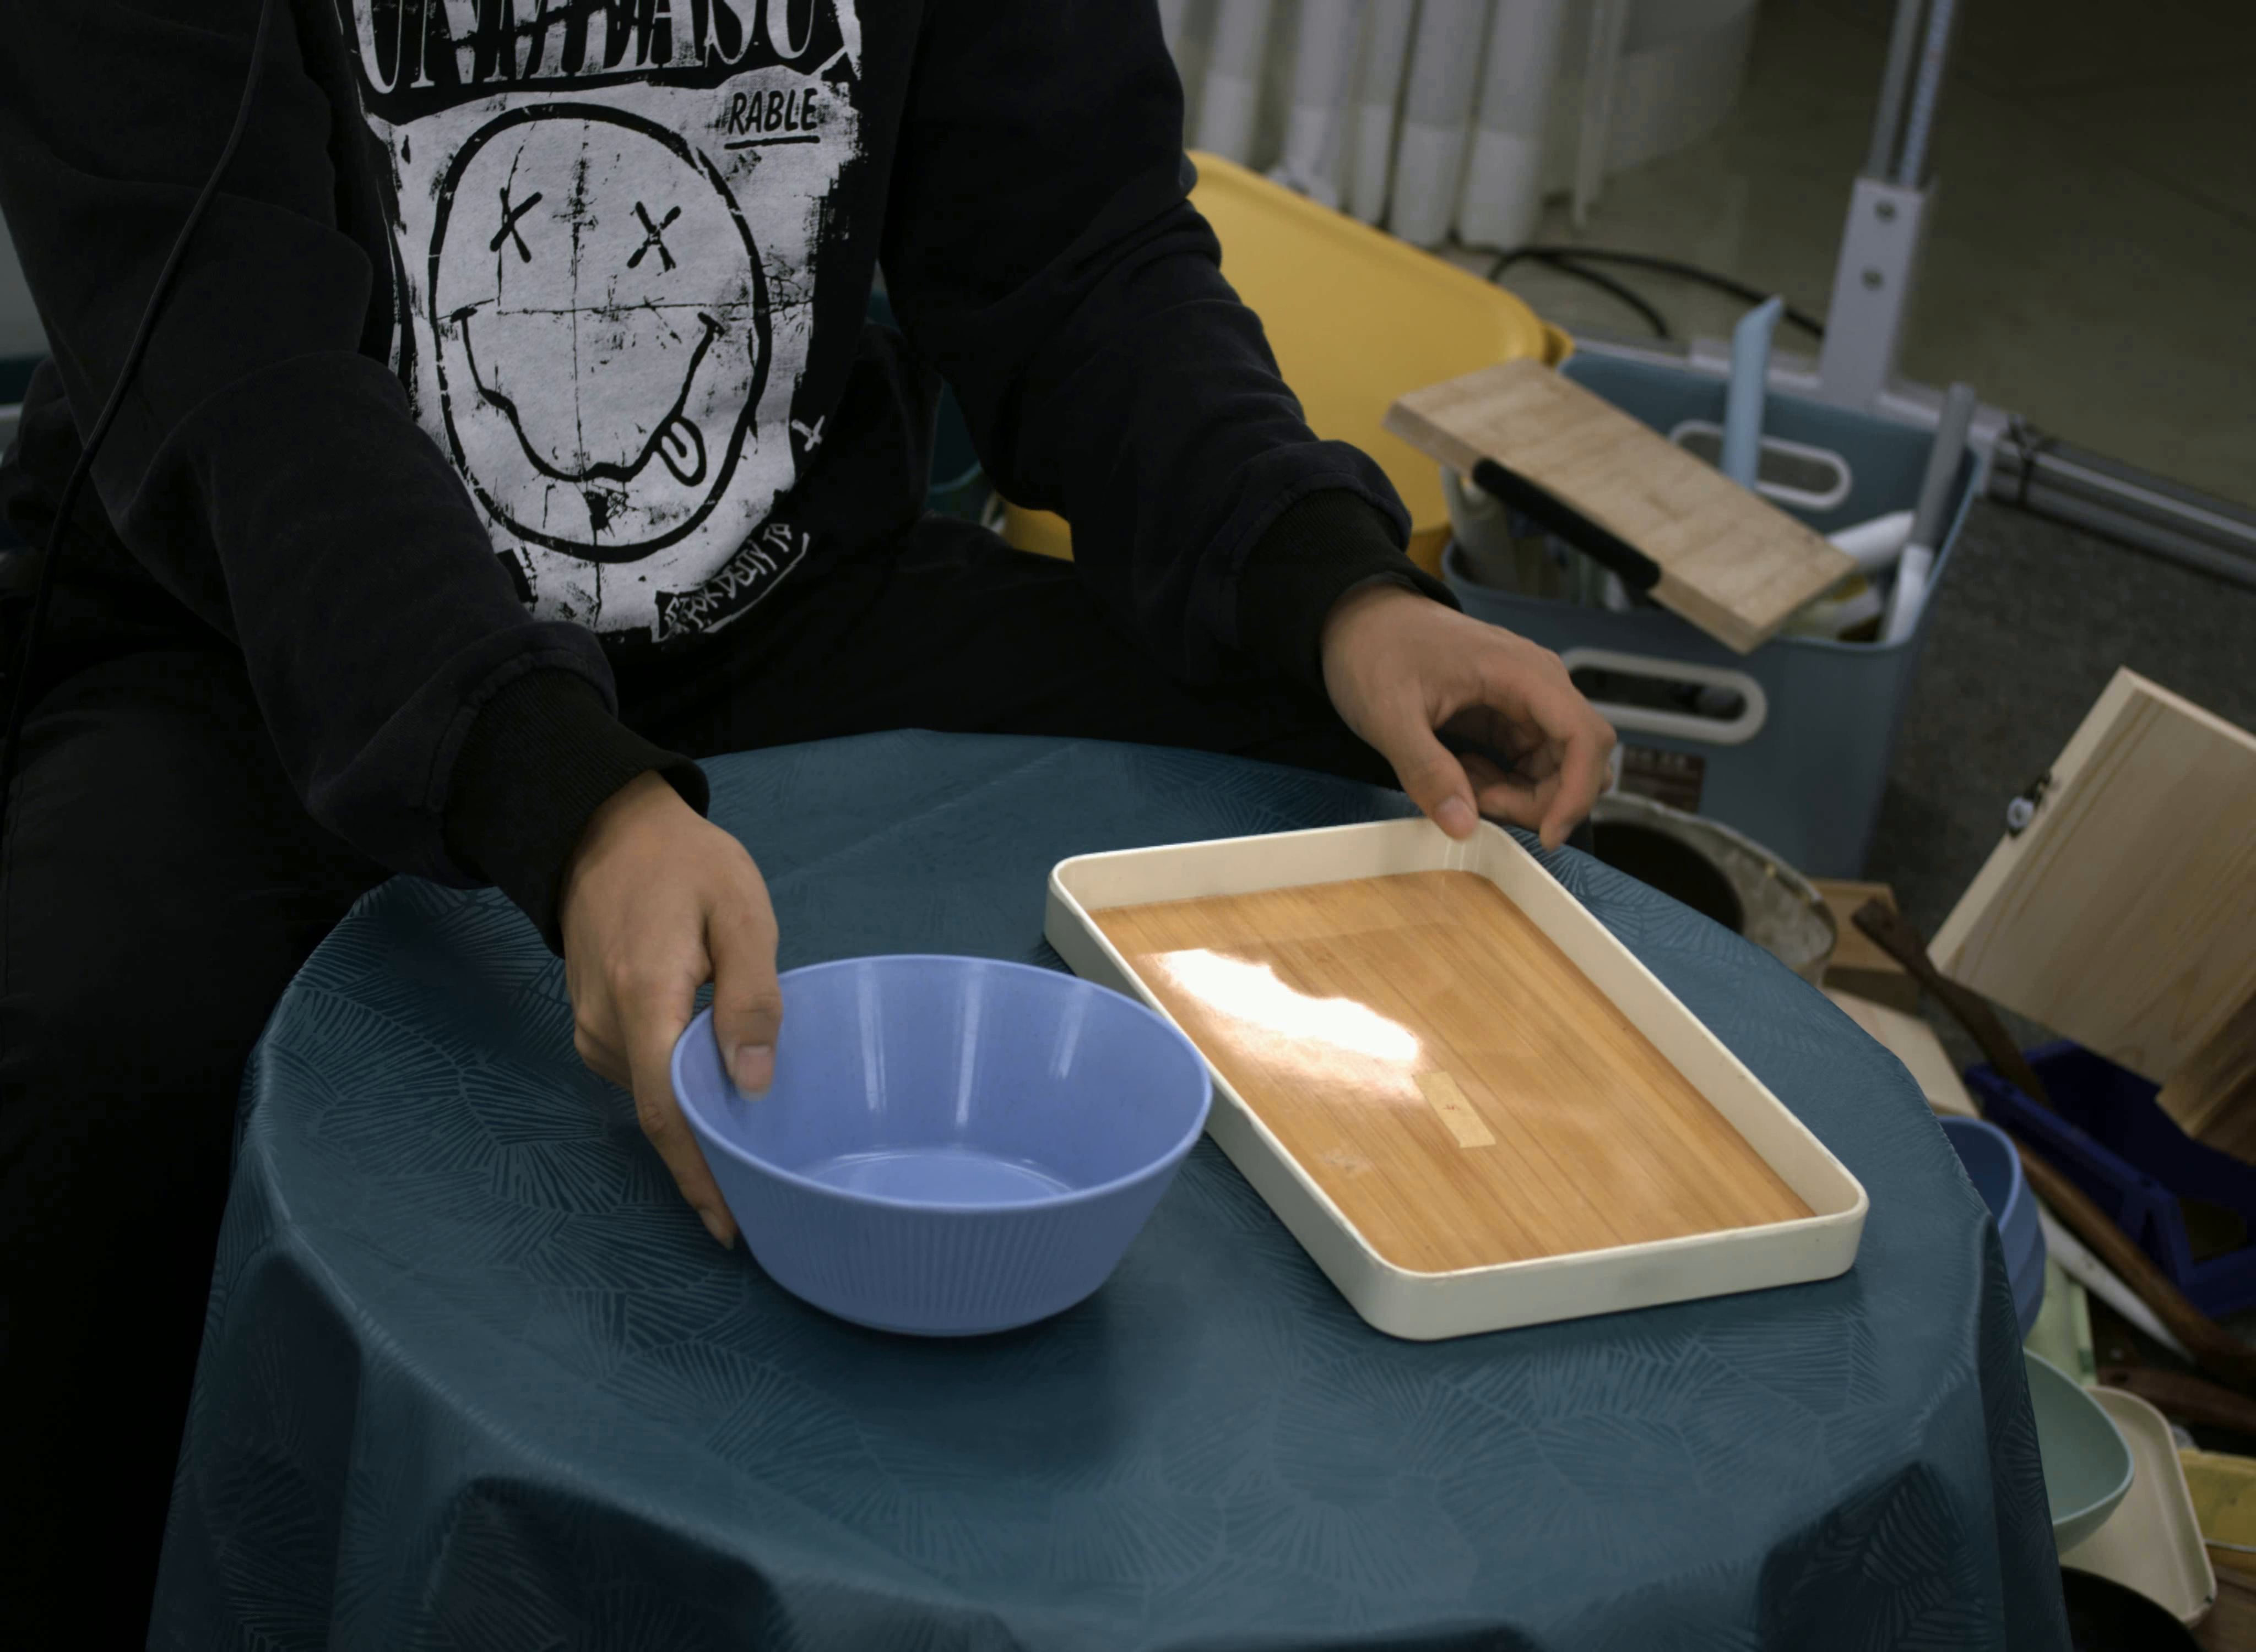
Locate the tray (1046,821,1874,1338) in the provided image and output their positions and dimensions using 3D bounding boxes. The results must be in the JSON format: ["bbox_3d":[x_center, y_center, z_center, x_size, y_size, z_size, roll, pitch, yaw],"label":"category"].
[{"bbox_3d":[0.111,0.083,1.876,0.190,0.027,0.303,-5,29,-24],"label":"tray"}]

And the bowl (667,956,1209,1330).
[{"bbox_3d":[-0.063,0.108,1.730,0.175,0.070,0.177,4,24,-2],"label":"bowl"}]
